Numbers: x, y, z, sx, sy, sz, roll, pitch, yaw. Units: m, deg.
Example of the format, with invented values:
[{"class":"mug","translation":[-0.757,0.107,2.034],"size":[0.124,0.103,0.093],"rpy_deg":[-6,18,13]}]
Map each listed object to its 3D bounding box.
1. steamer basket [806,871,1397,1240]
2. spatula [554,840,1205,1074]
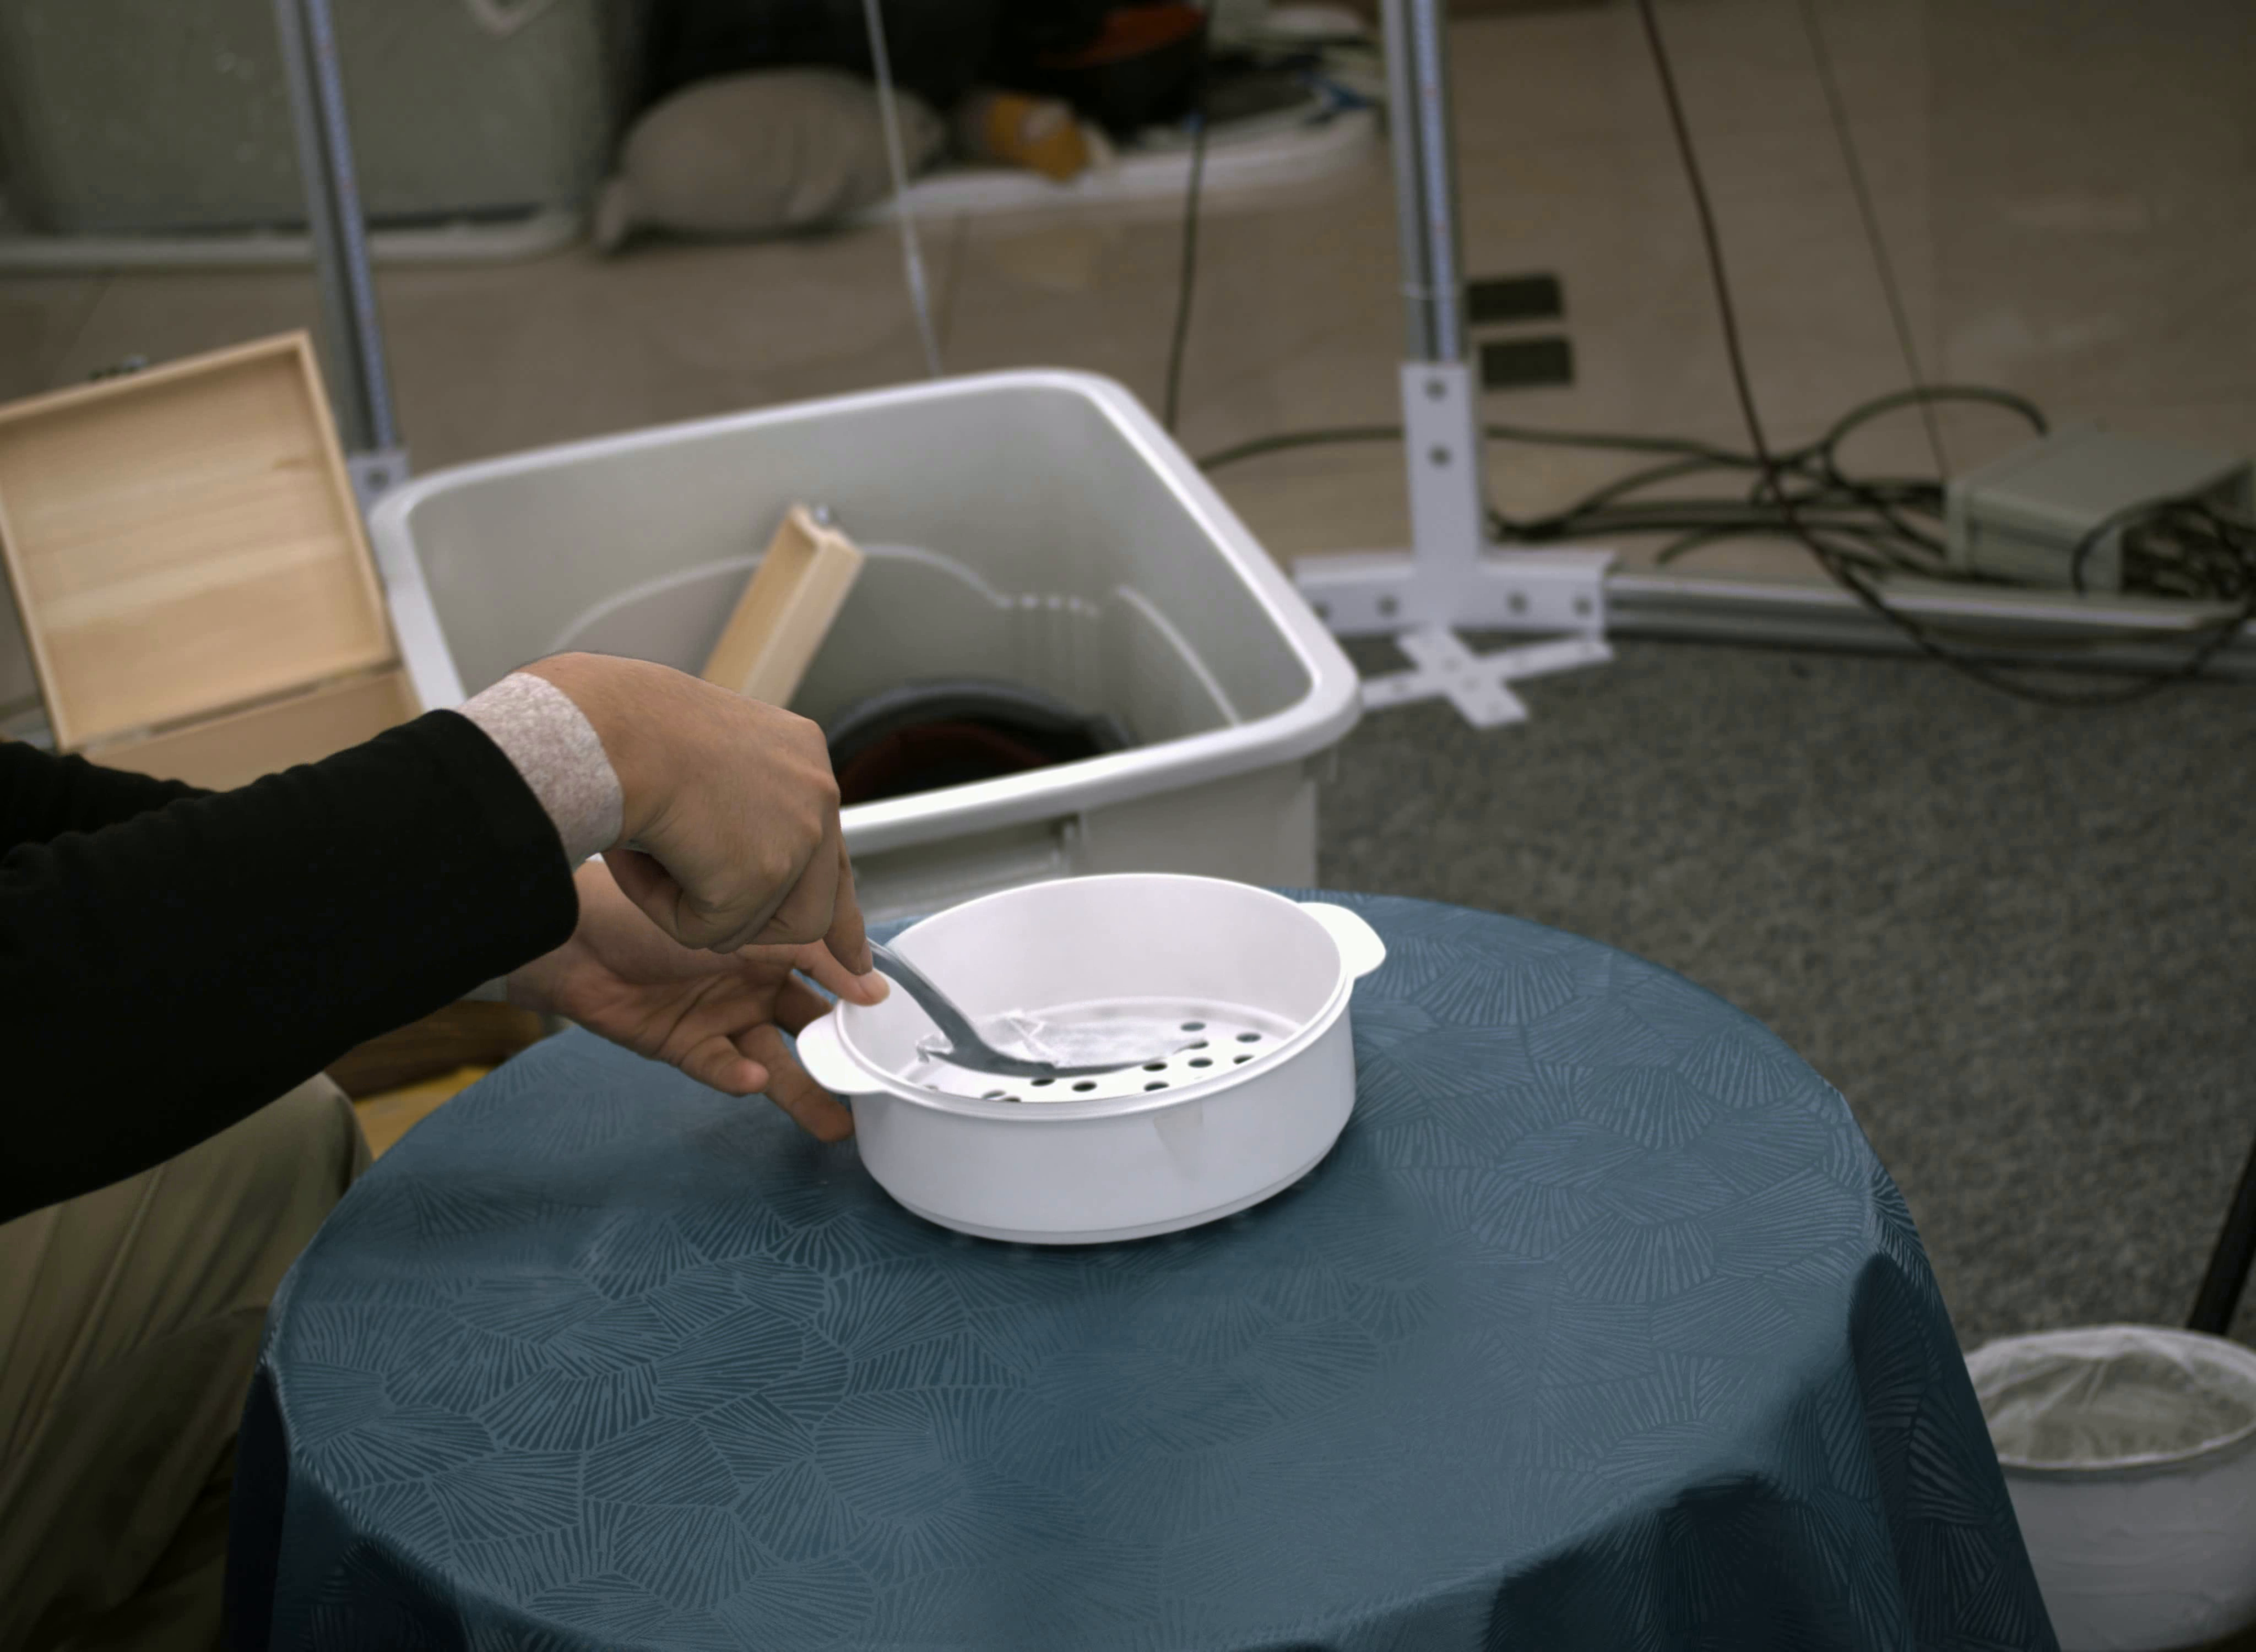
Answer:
[{"class":"steamer basket","translation":[-0.006,0.088,2.174],"size":[0.230,0.070,0.199],"rpy_deg":[-14,25,-13]},{"class":"spatula","translation":[-0.090,0.041,1.988],"size":[0.098,0.044,0.368],"rpy_deg":[8,-13,29]}]
